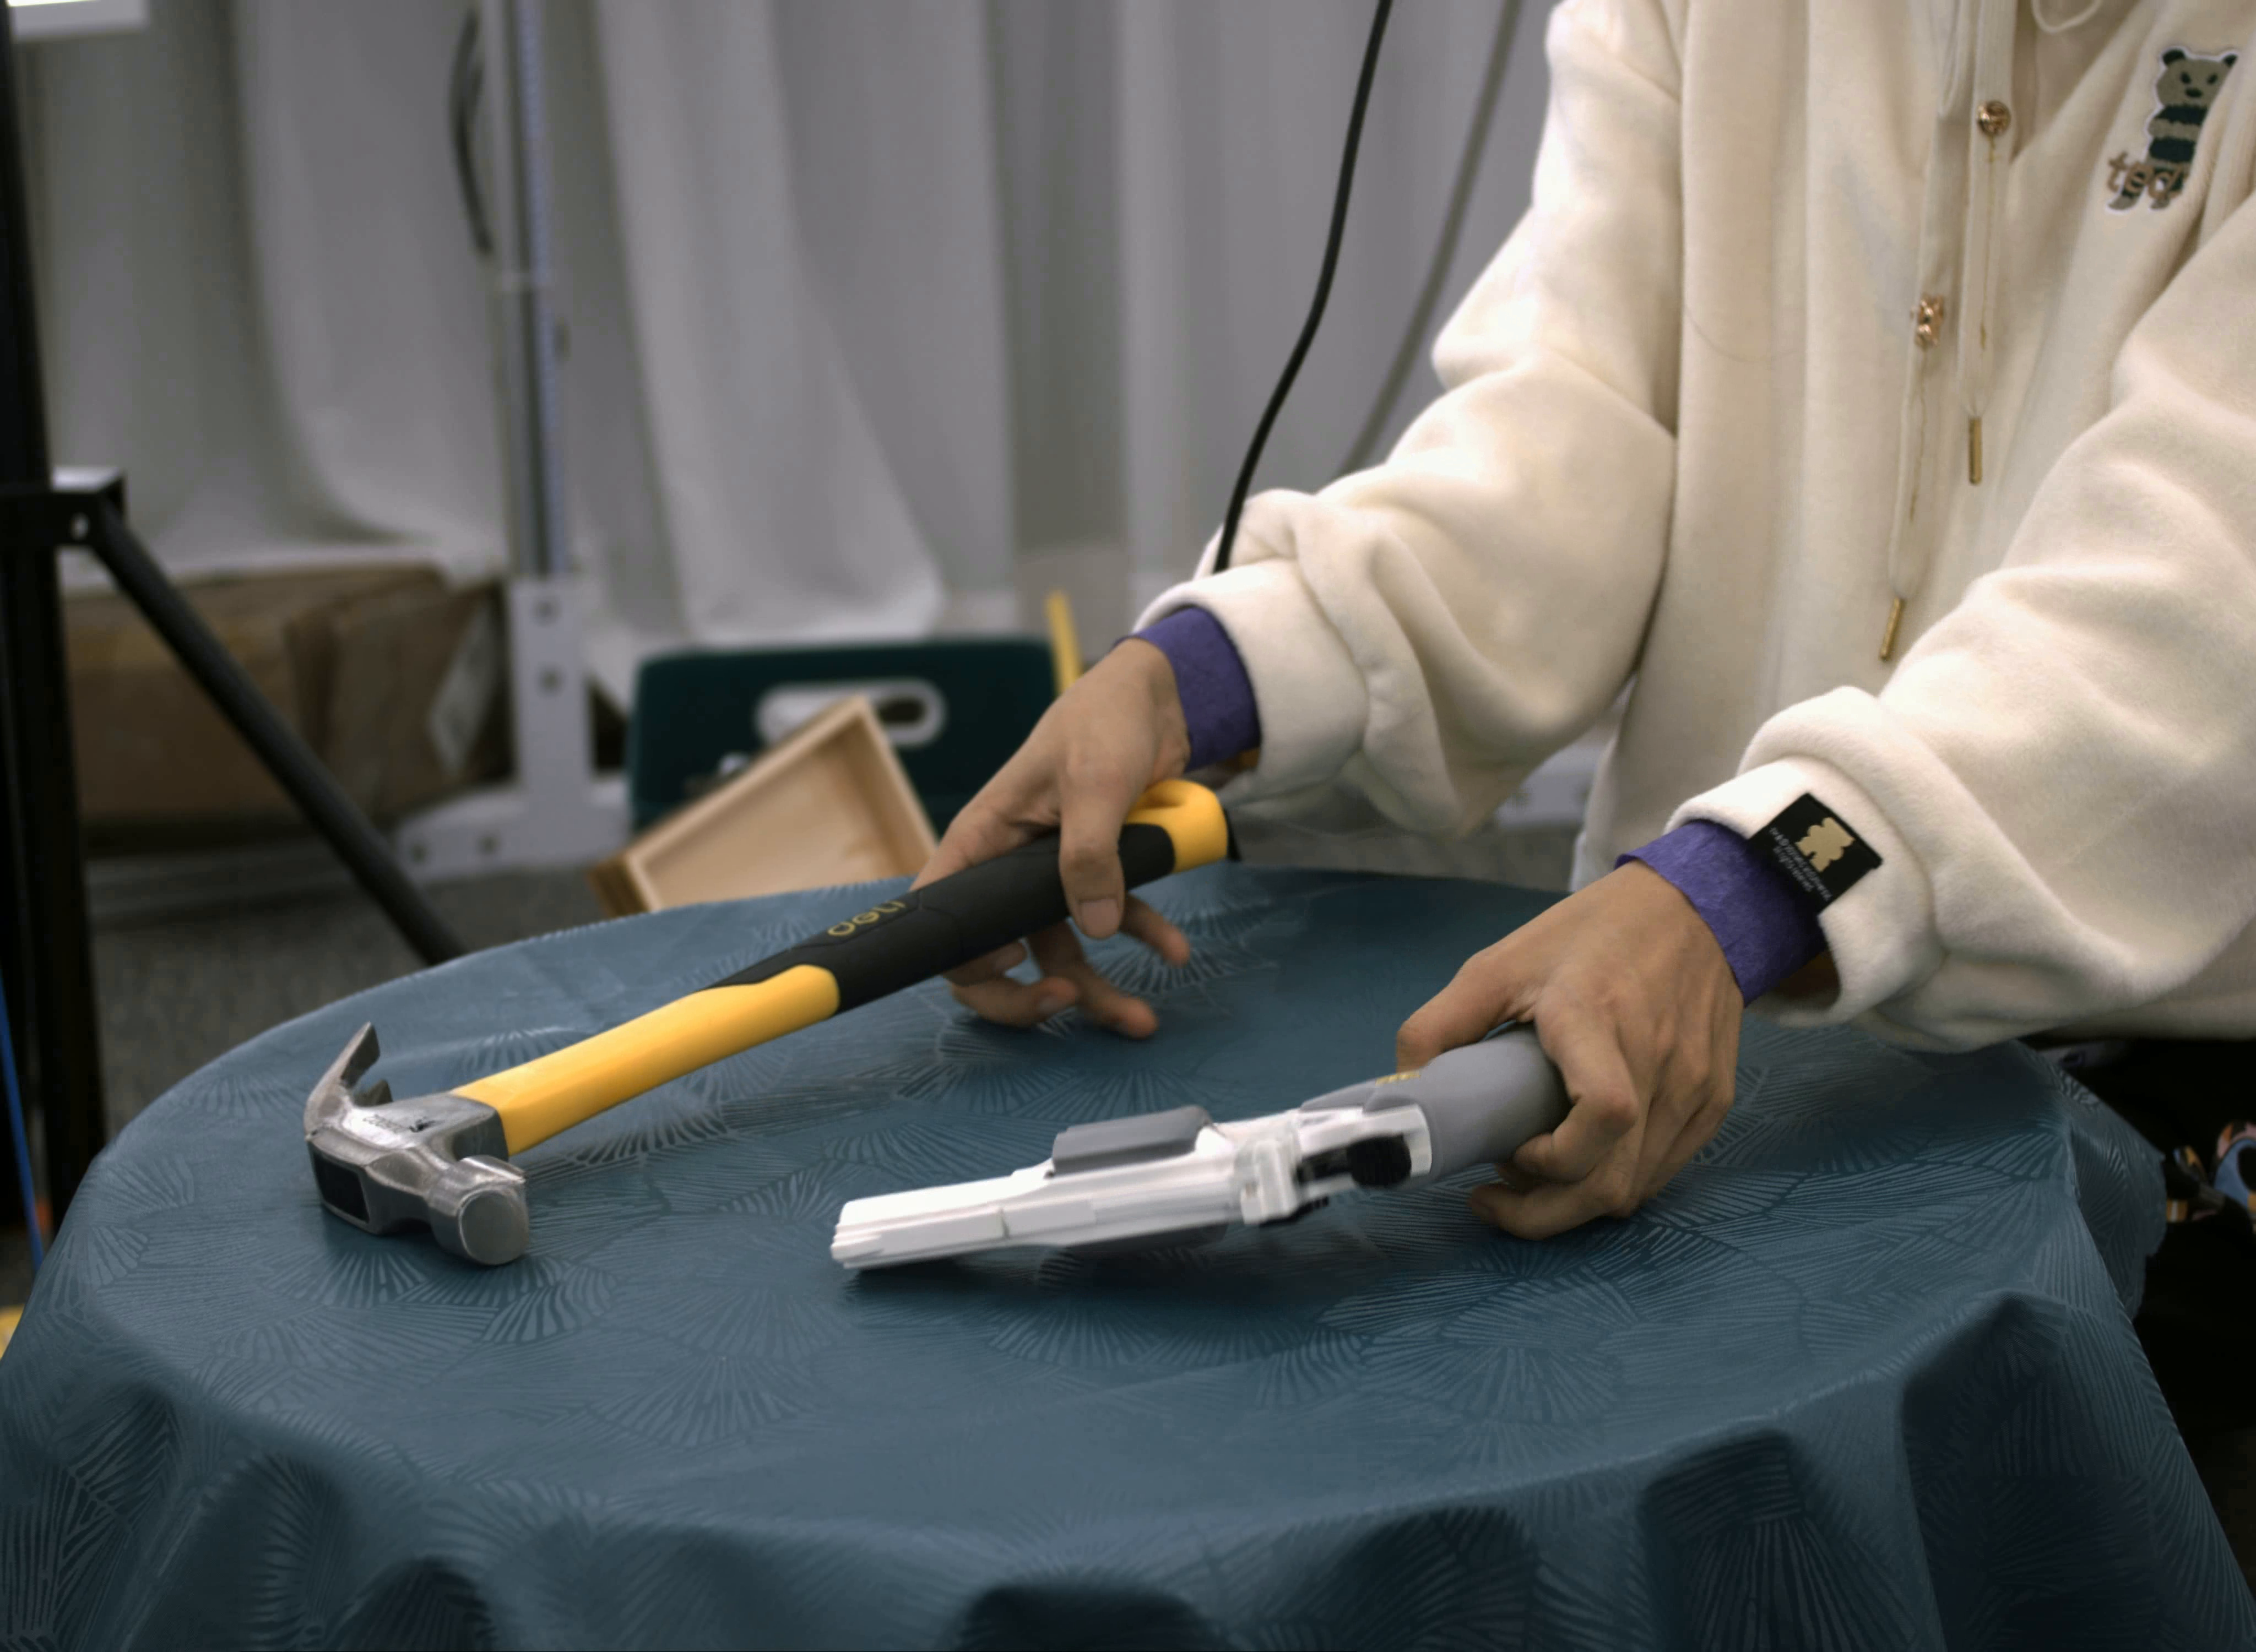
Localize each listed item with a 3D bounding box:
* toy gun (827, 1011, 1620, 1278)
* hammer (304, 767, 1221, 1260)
[{"bbox_3d":[0.029,0.094,1.512,0.211,0.039,0.140,-9,8,17],"label":"toy gun"},{"bbox_3d":[-0.104,0.048,1.651,0.332,0.032,0.134,-24,22,-33],"label":"hammer"}]
